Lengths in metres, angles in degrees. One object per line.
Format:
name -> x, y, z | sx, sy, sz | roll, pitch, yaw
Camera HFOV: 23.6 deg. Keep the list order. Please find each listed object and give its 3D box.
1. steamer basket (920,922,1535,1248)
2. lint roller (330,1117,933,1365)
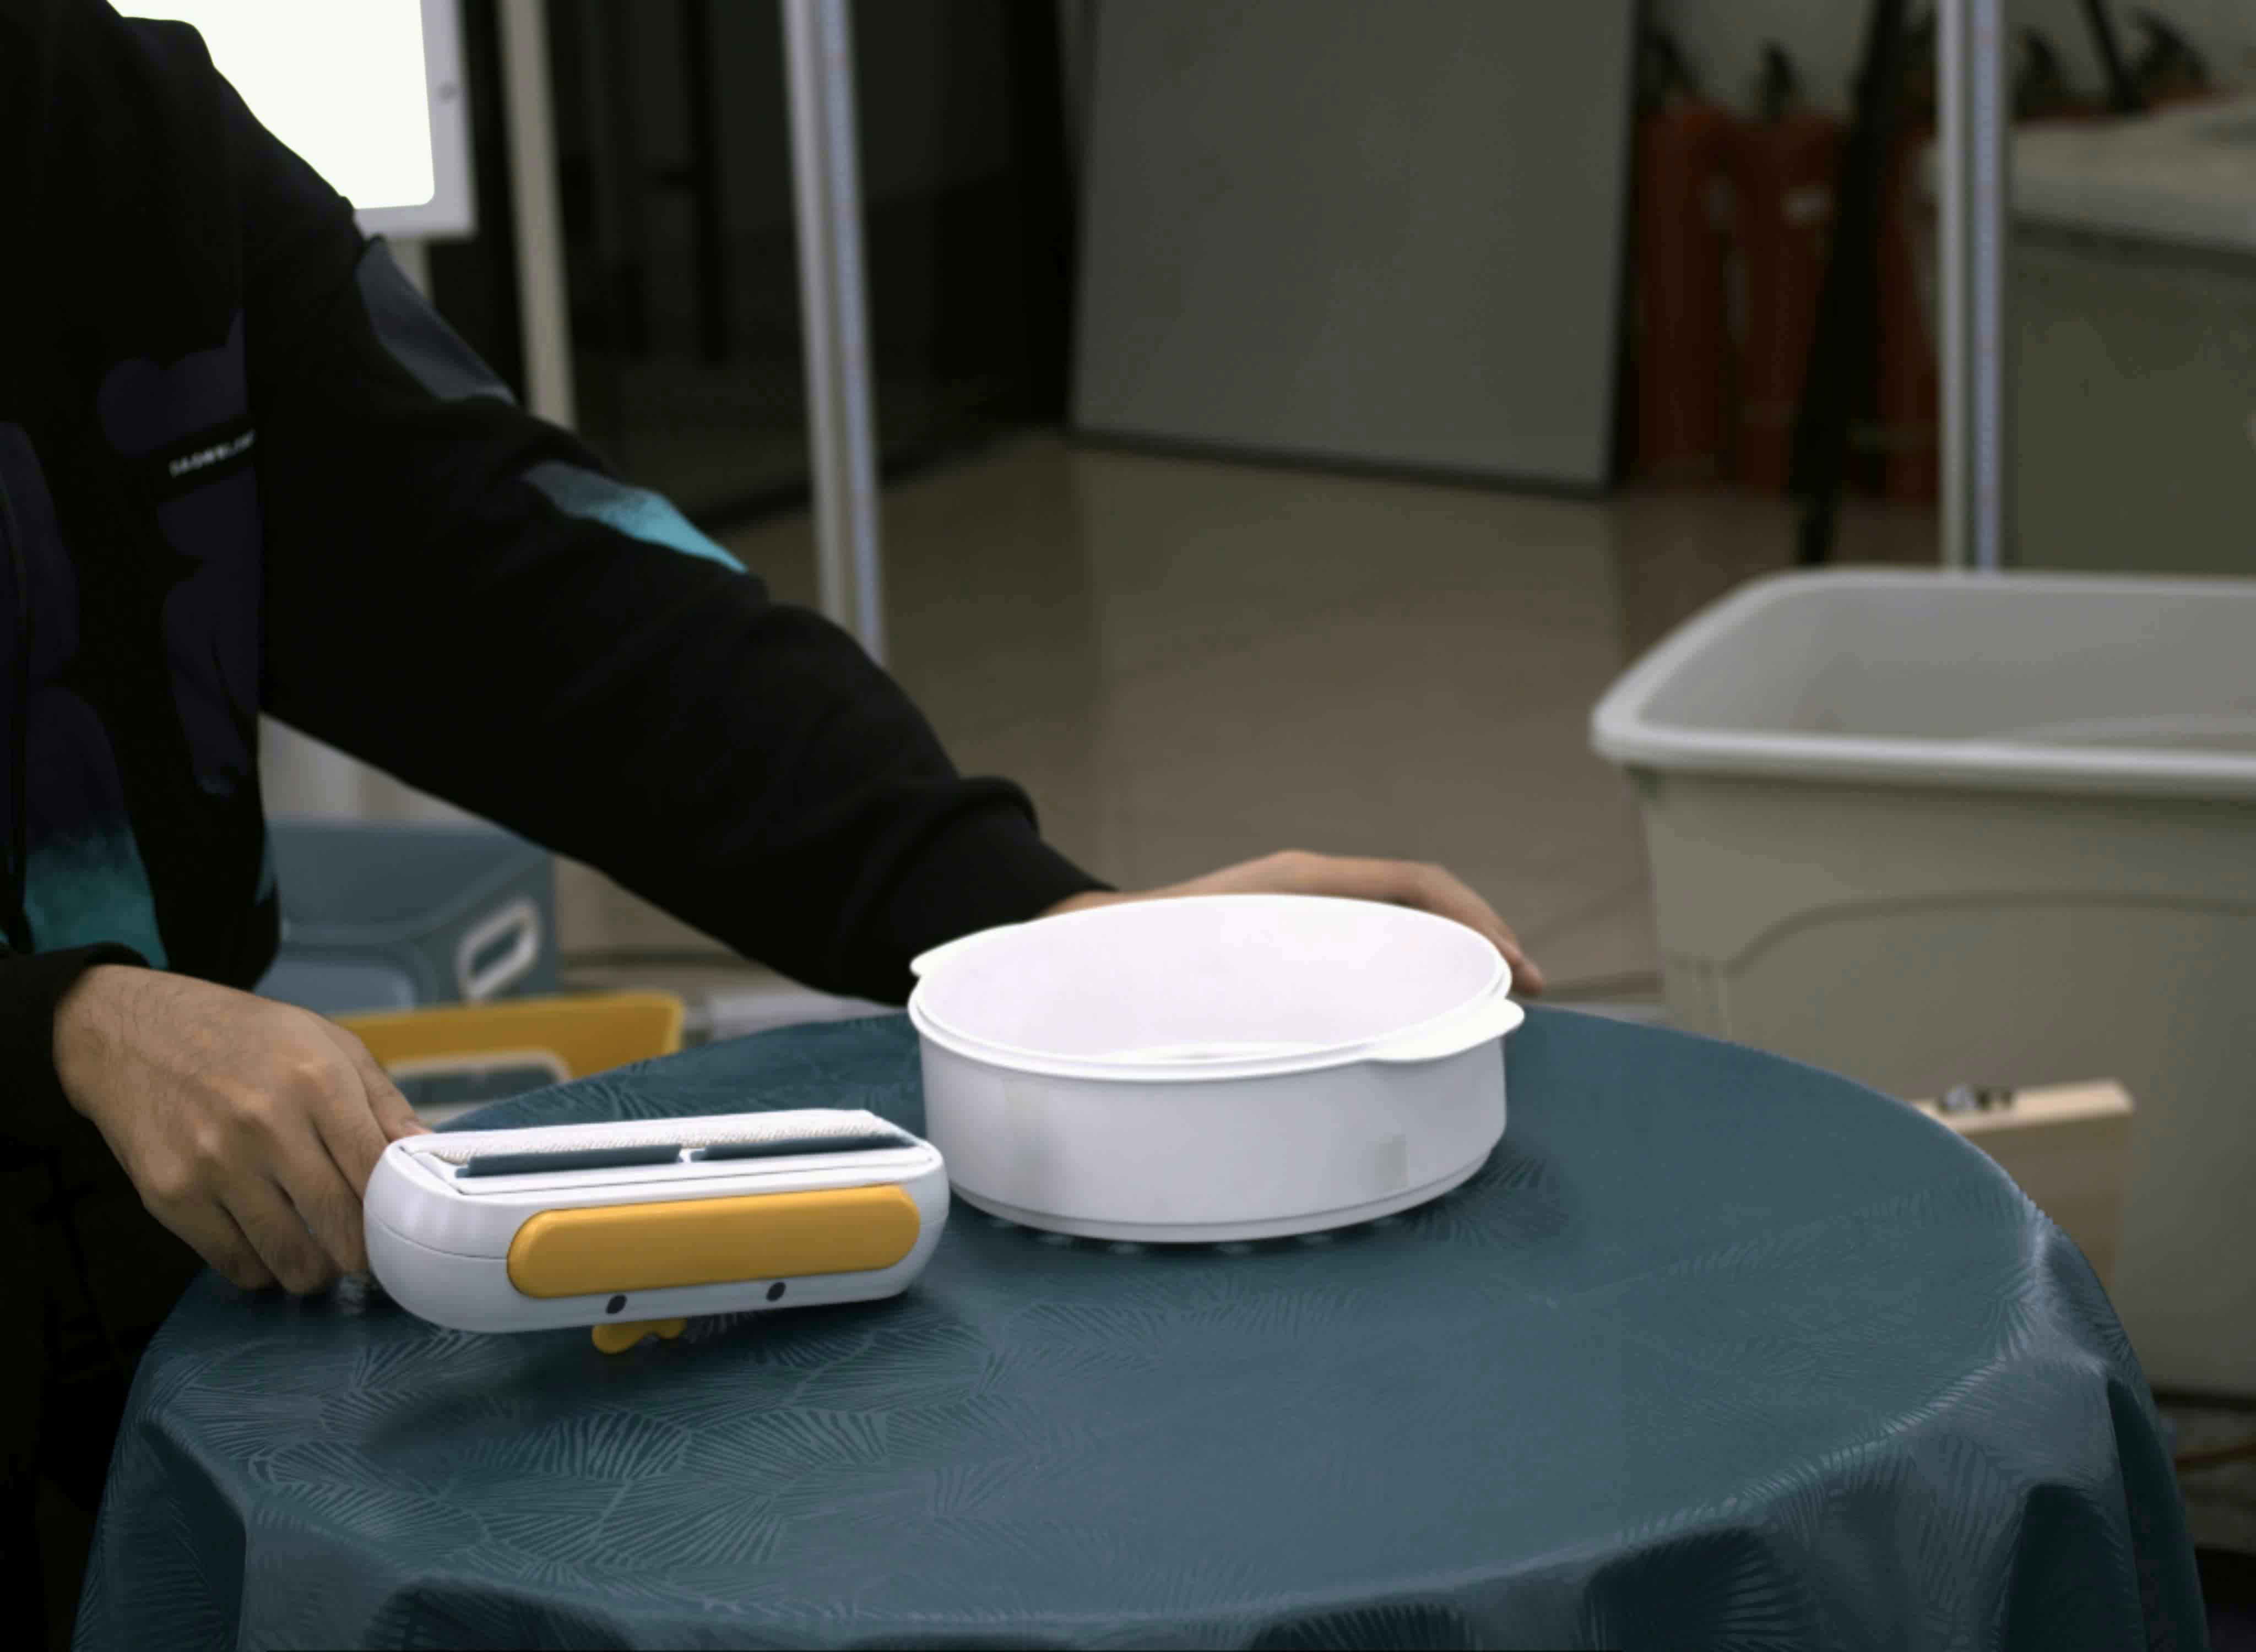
steamer basket -> 0.032, 0.085, 1.779 | 0.232, 0.070, 0.198 | 4, 14, 41
lint roller -> -0.179, 0.119, 1.692 | 0.188, 0.075, 0.194 | -6, 11, -31
